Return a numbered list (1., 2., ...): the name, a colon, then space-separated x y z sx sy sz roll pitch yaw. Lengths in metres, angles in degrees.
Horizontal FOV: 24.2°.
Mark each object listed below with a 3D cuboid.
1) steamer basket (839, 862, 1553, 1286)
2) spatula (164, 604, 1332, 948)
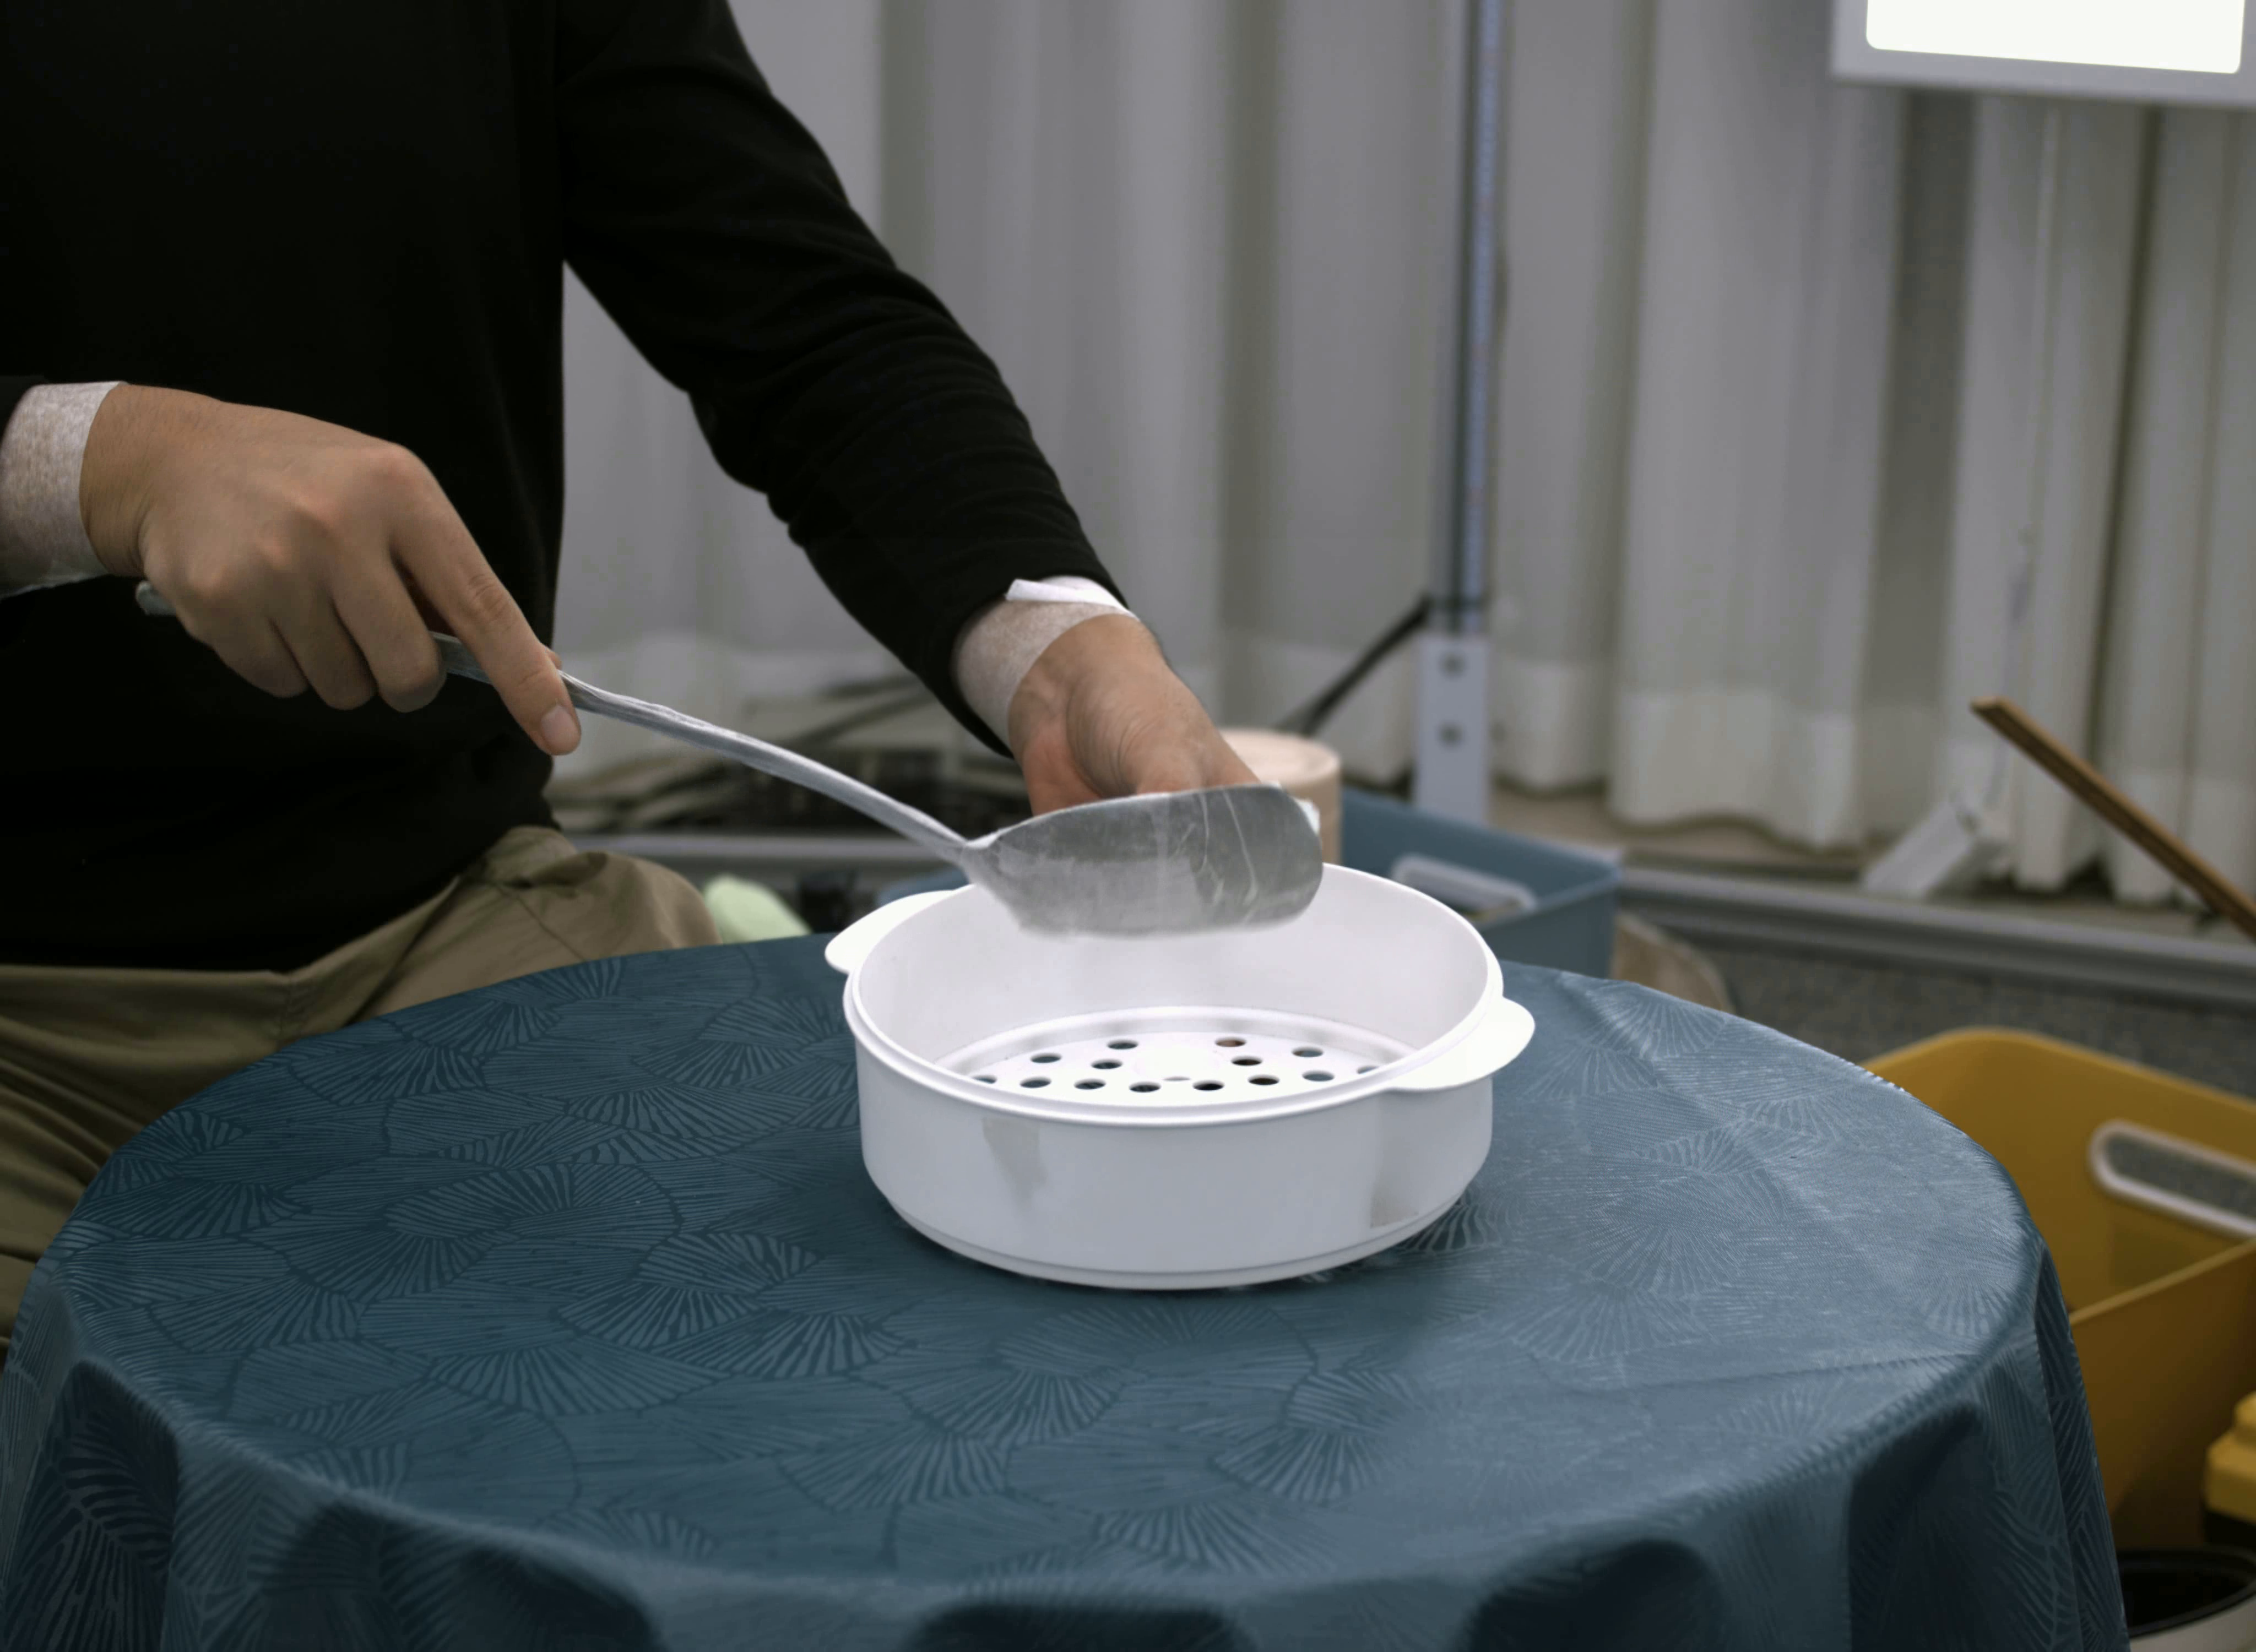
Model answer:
1. steamer basket: 0.019 0.074 1.603 0.228 0.070 0.202 11 24 29
2. spatula: -0.117 -0.025 1.585 0.363 0.099 0.044 18 64 7
